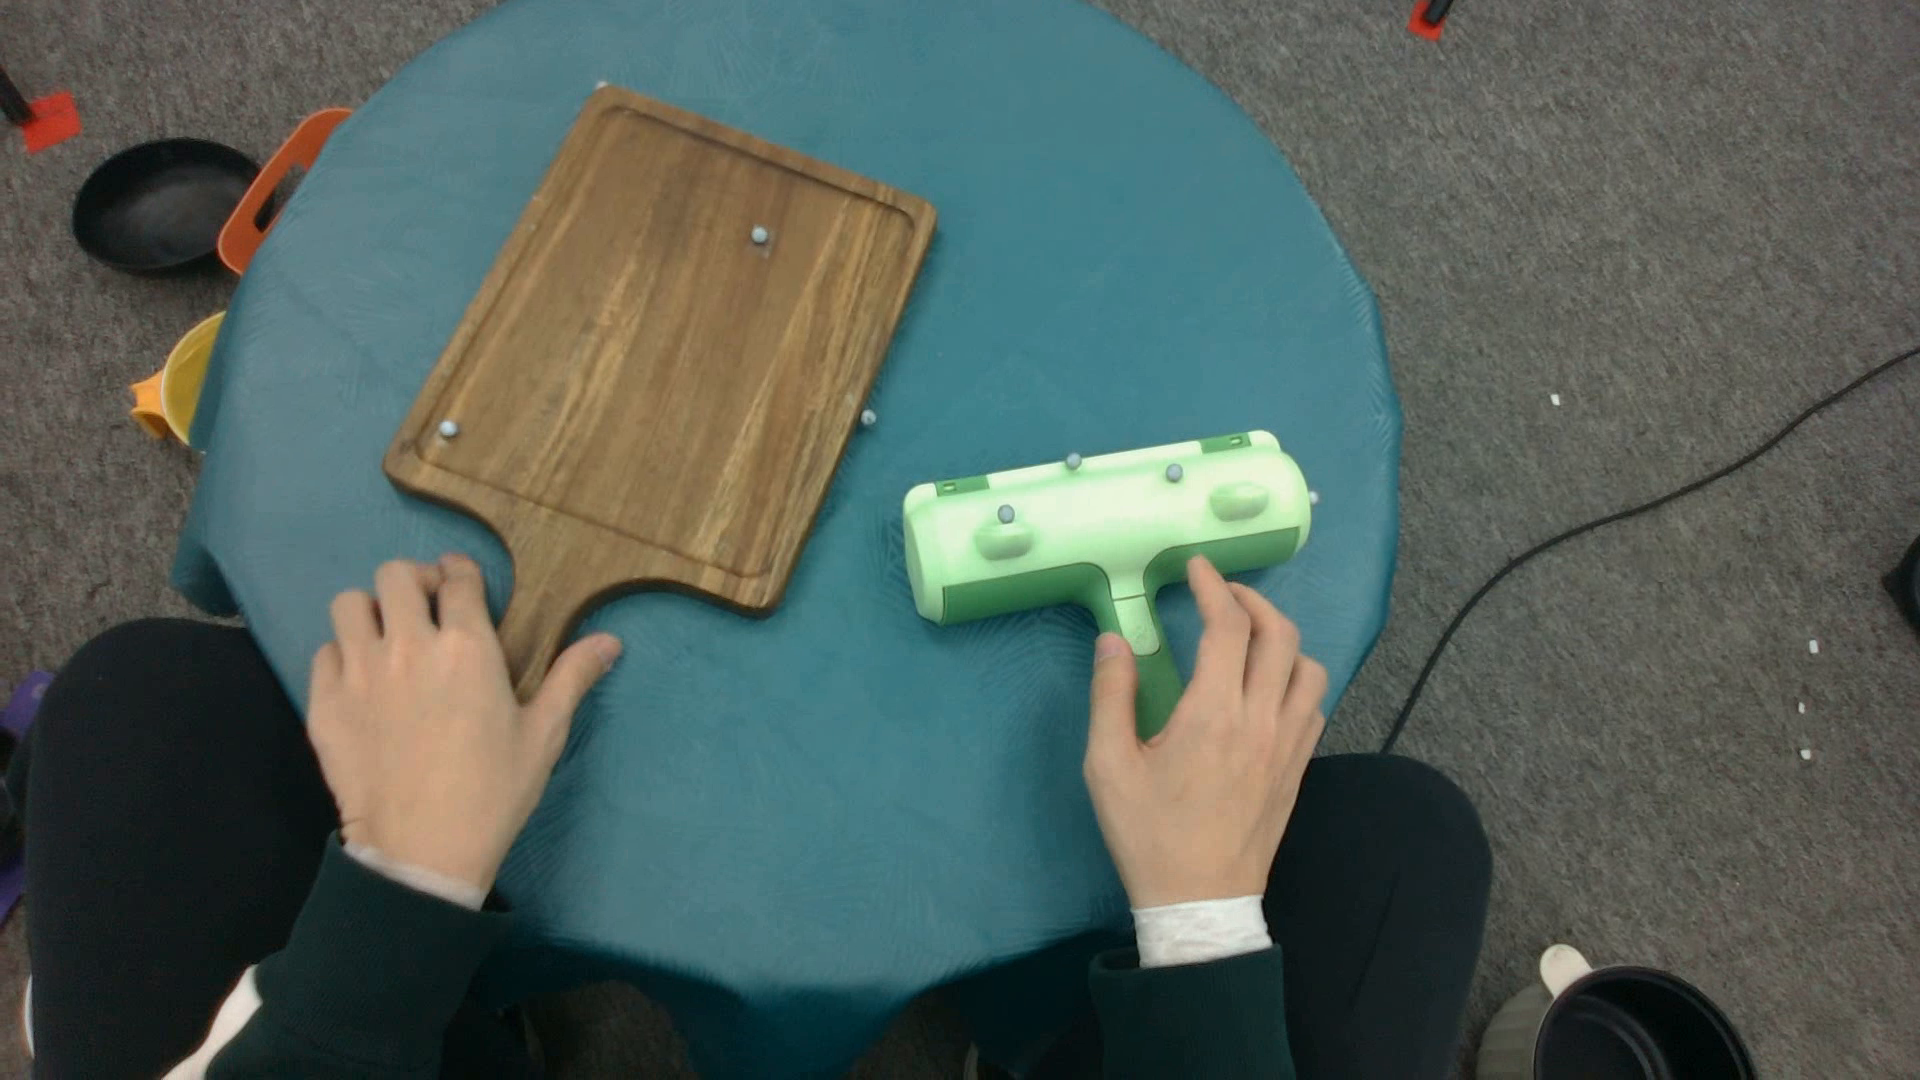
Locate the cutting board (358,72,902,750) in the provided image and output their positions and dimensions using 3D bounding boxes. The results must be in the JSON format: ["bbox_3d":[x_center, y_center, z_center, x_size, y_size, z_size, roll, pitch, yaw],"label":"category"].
[{"bbox_3d":[-0.170,-0.067,0.674,0.201,0.023,0.353,18,68,-1],"label":"cutting board"}]

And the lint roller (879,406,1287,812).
[{"bbox_3d":[0.075,0.031,0.643,0.199,0.082,0.184,-10,67,-13],"label":"lint roller"}]
